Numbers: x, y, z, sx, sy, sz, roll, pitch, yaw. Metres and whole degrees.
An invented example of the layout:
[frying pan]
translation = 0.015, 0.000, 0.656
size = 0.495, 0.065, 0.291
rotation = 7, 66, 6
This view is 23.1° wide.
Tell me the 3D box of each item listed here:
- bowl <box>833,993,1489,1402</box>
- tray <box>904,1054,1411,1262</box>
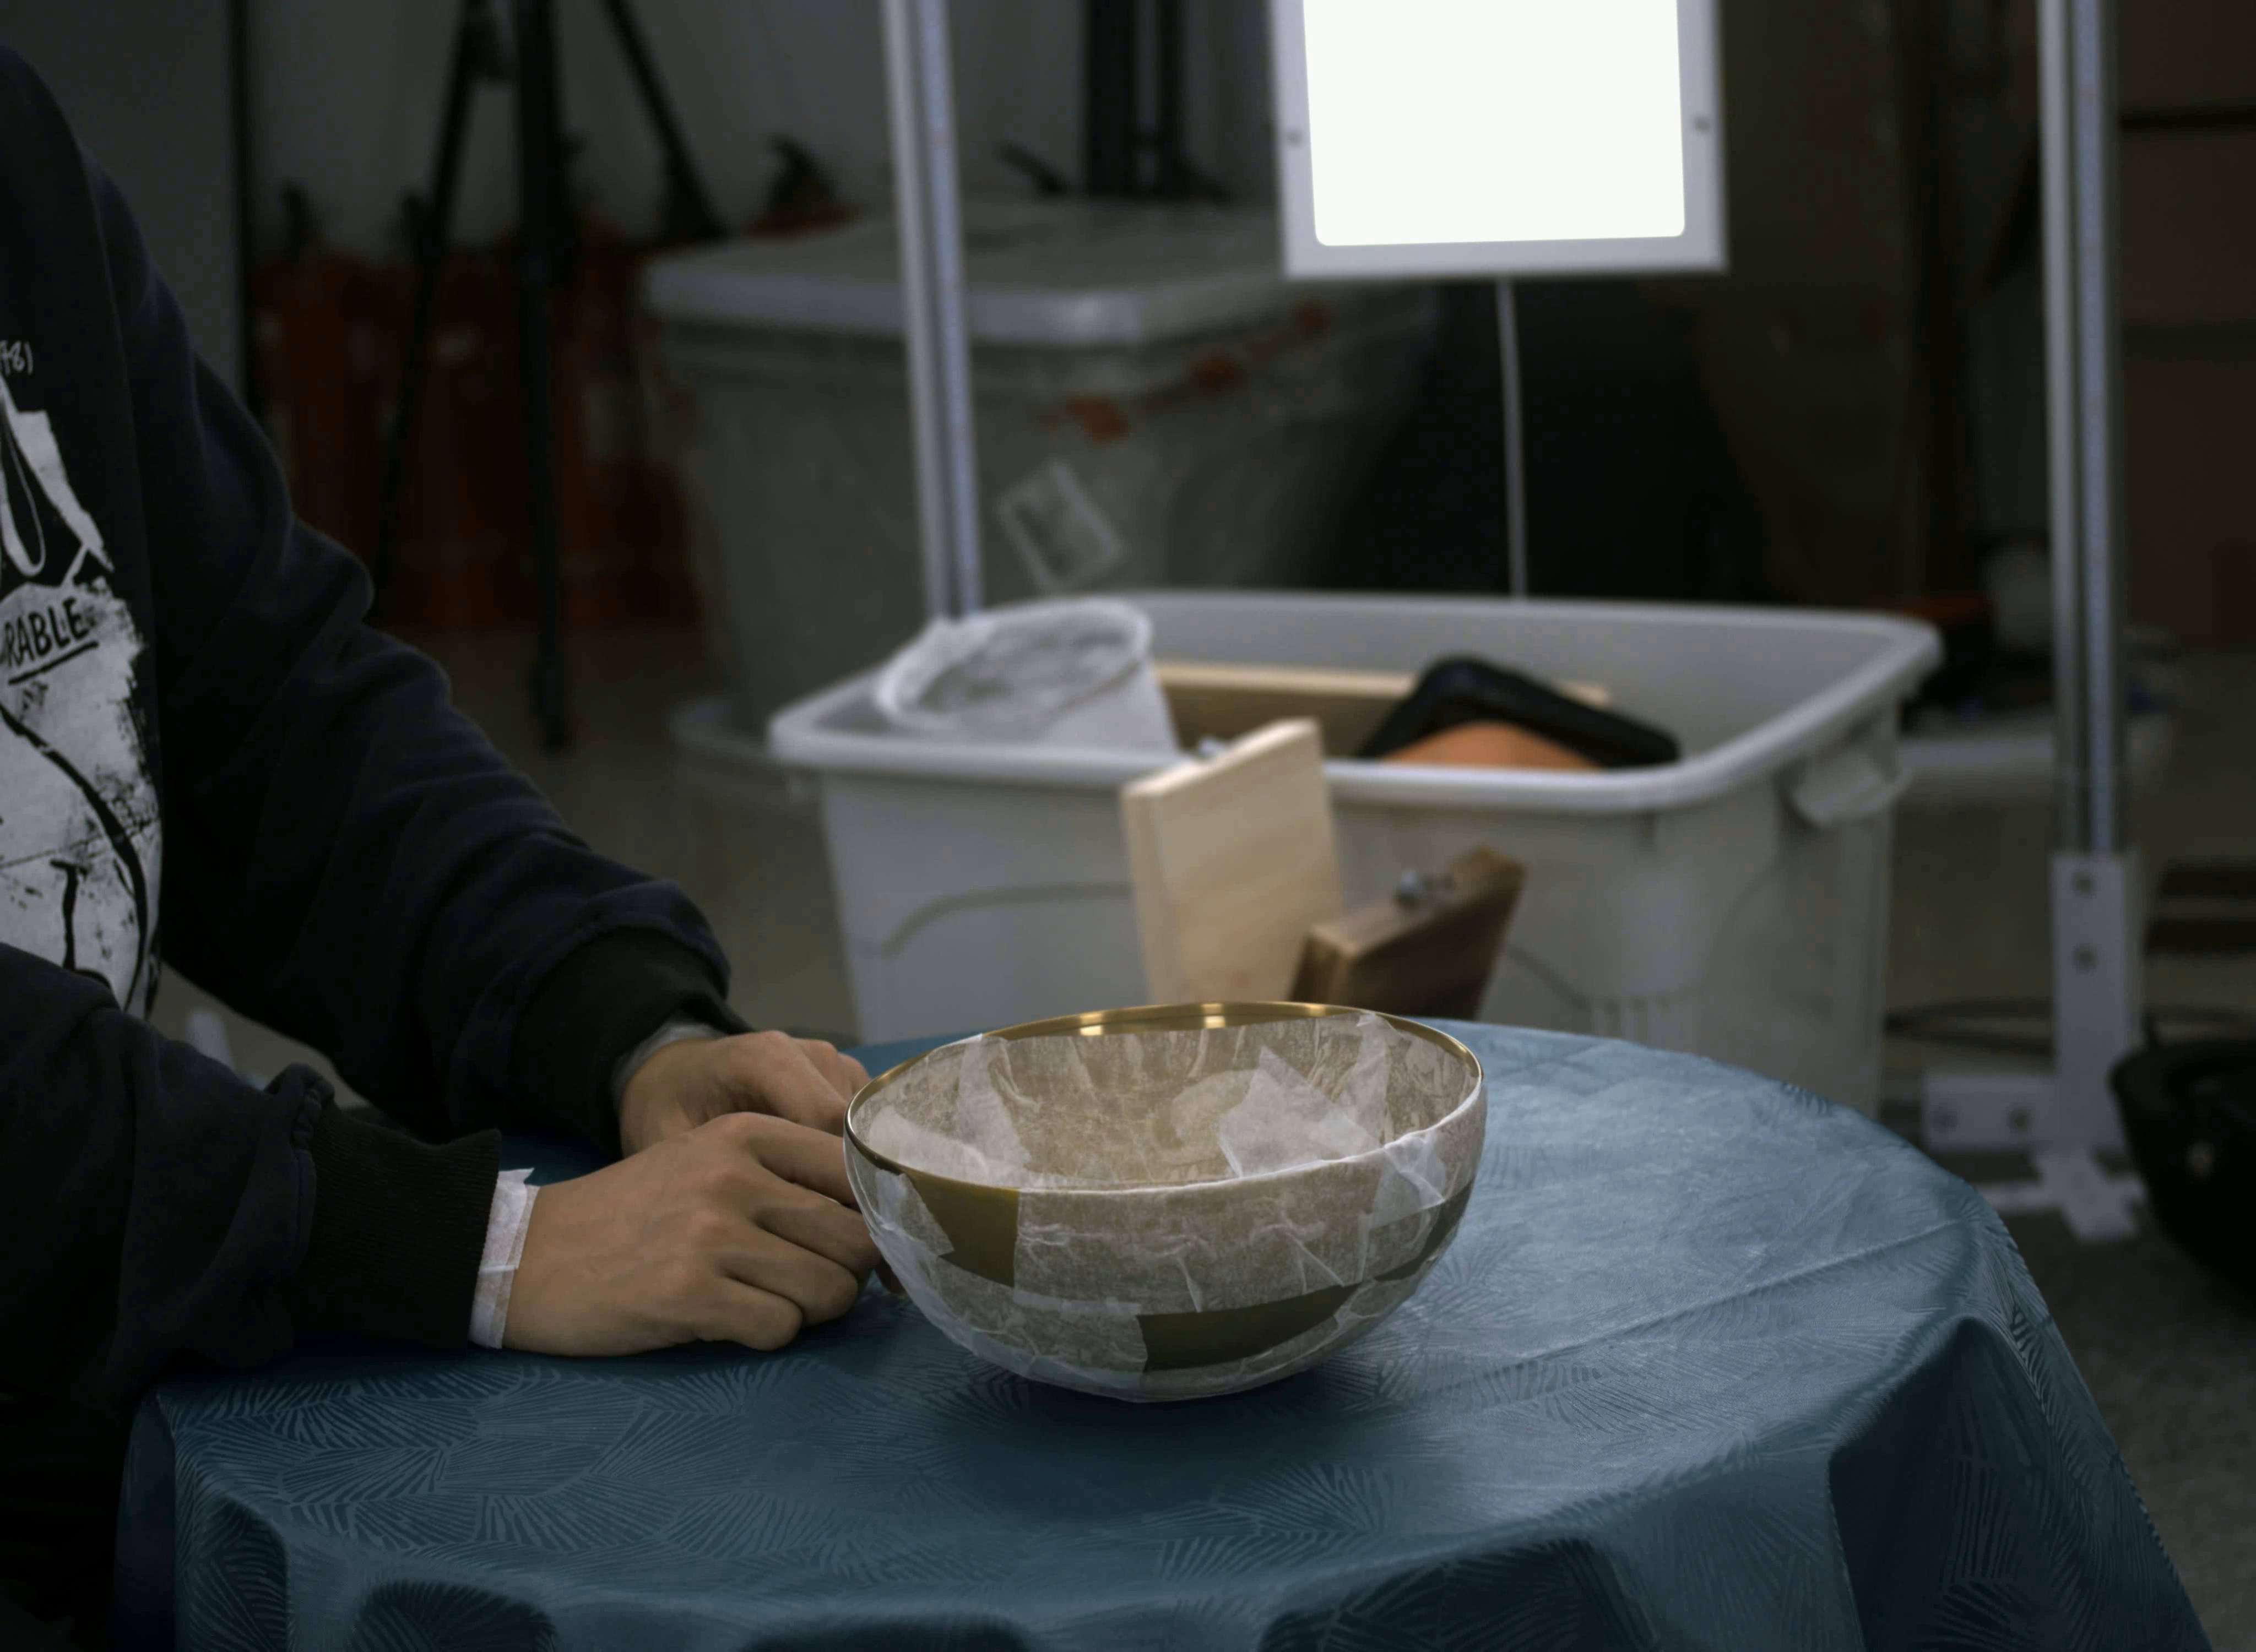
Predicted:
[bowl]
translation = 0.015, 0.122, 1.713
size = 0.214, 0.095, 0.214
rotation = -6, 14, 0
[tray]
translation = 0.008, 0.114, 1.915
size = 0.099, 0.020, 0.235
rotation = -16, 20, -31
